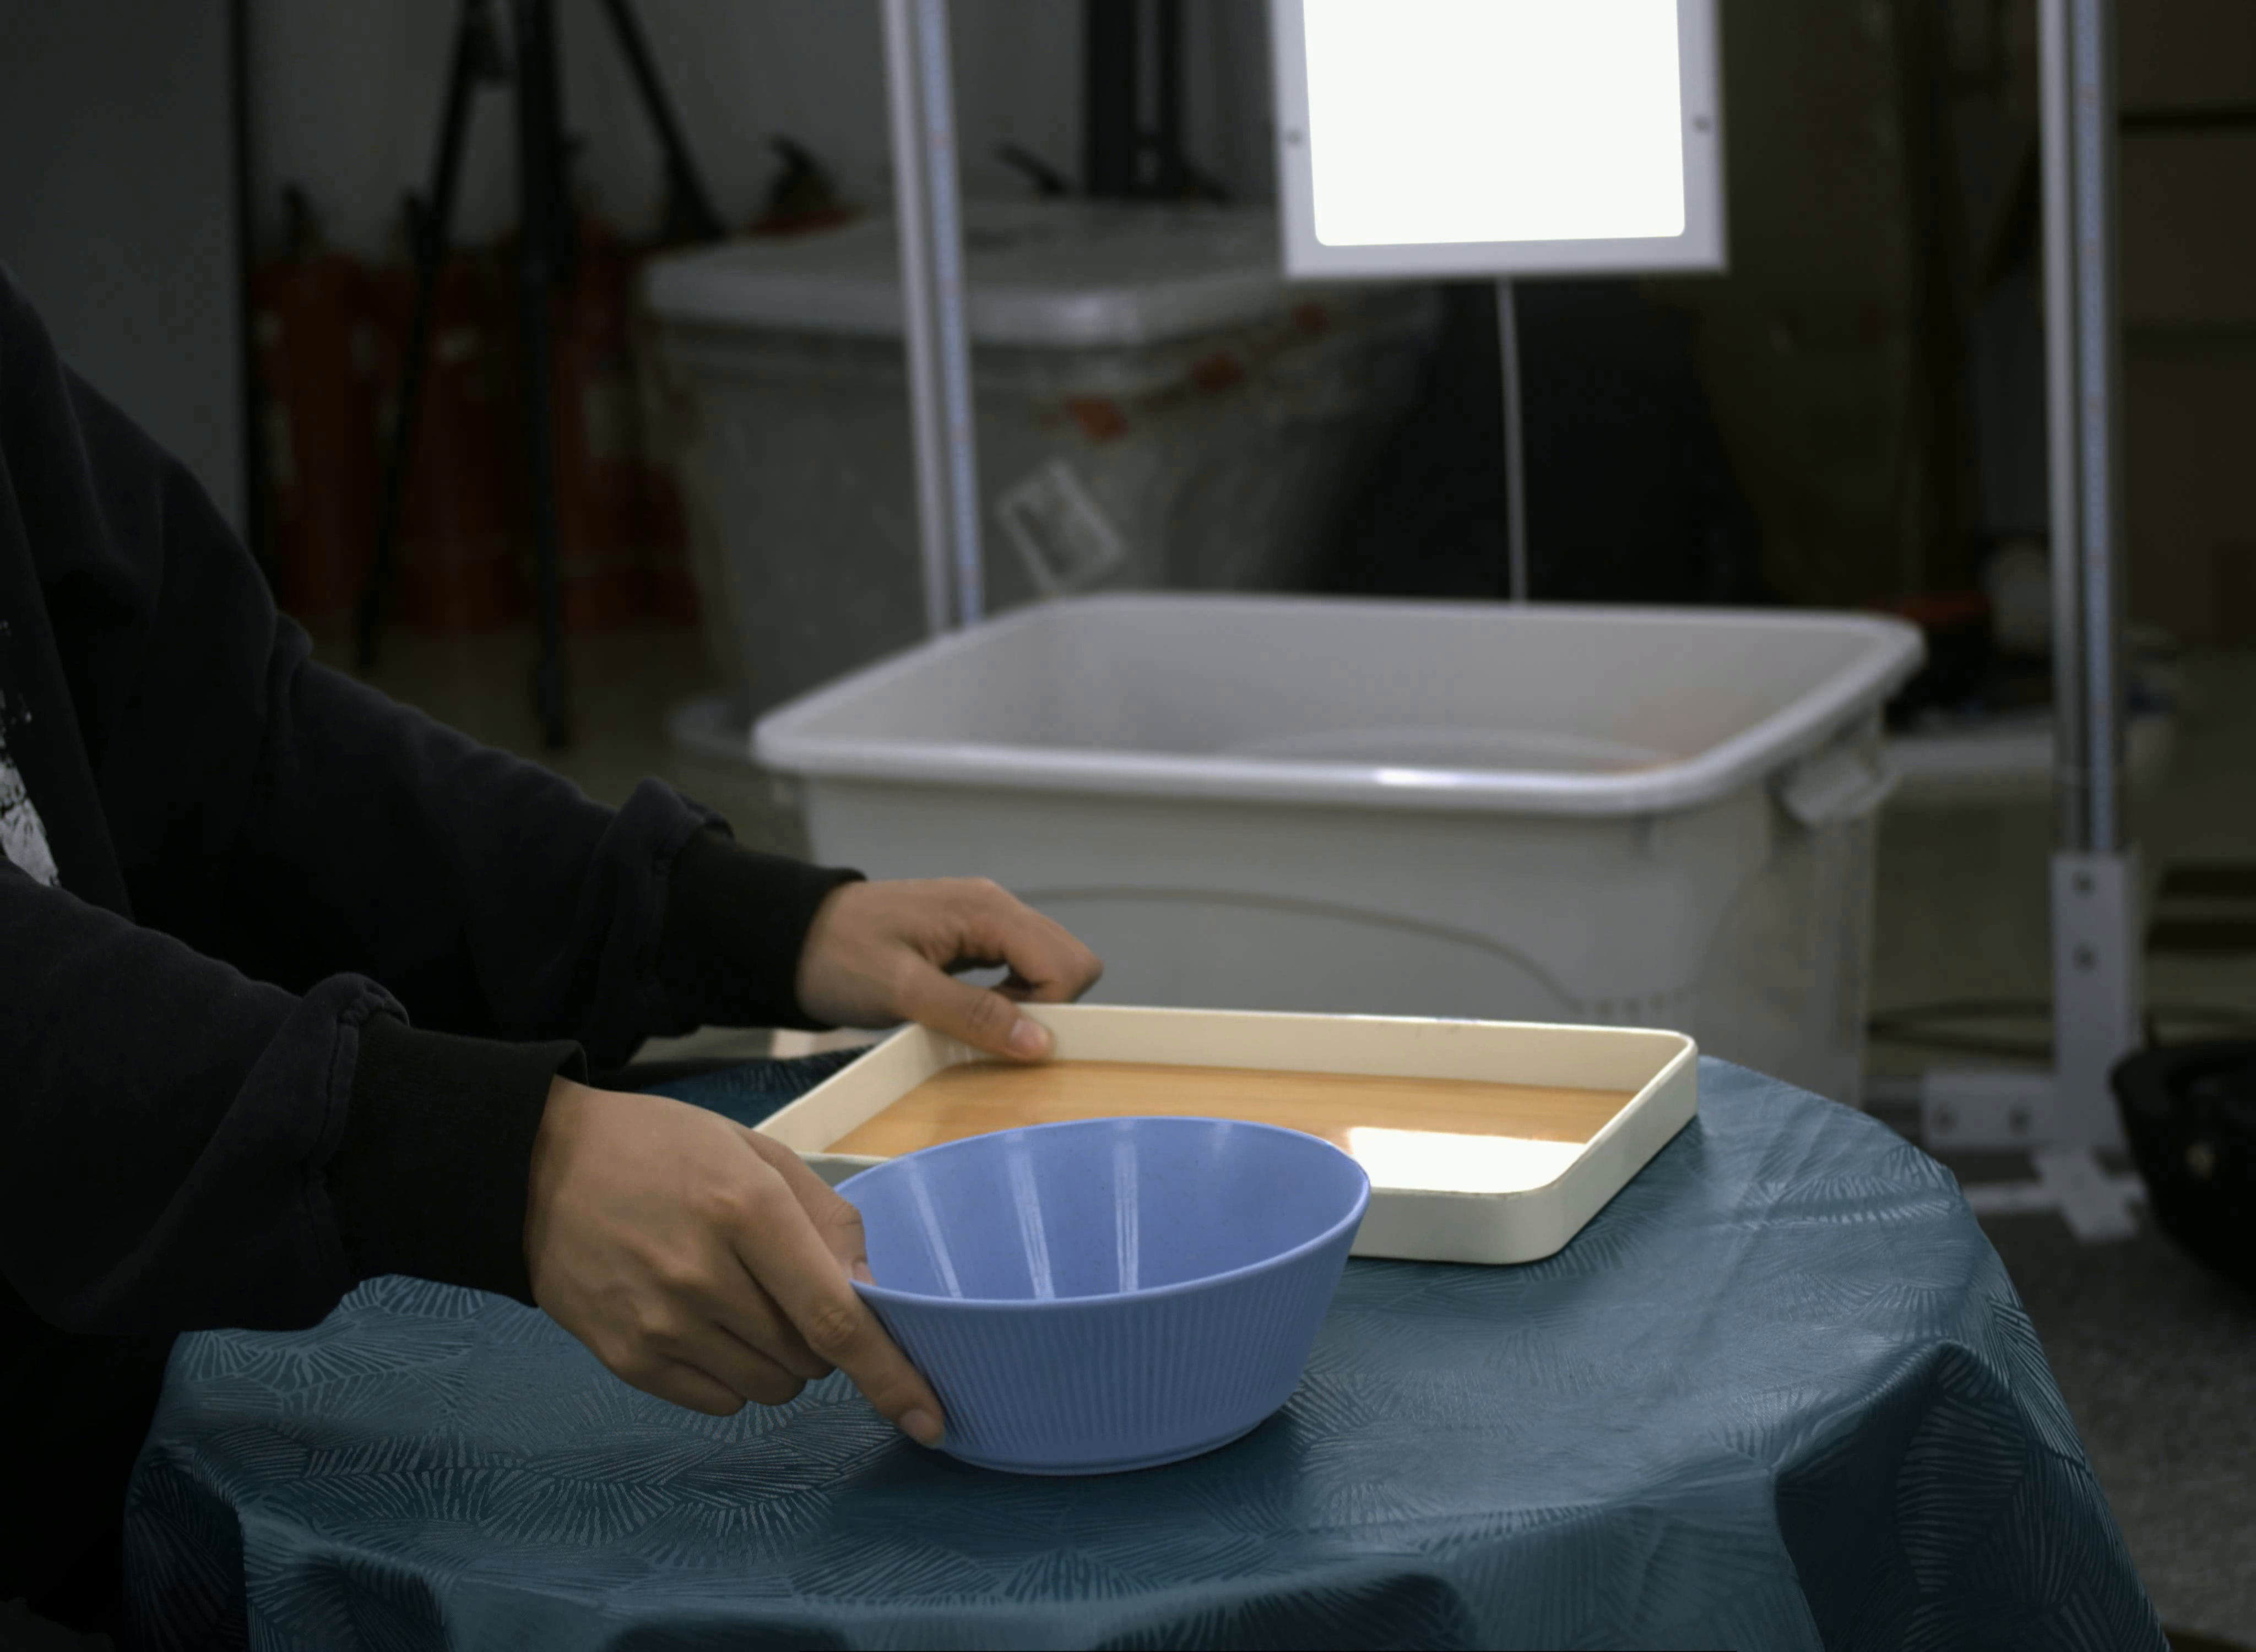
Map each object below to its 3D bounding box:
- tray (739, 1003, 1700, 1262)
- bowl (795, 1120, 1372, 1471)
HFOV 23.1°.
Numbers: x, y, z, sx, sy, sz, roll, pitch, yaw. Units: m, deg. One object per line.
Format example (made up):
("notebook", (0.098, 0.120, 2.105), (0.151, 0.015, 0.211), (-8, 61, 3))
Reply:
("tray", (0.034, 0.105, 1.919), (0.305, 0.027, 0.188), (2, 15, 25))
("bowl", (-0.012, 0.145, 1.673), (0.175, 0.070, 0.176), (-4, 14, 0))
